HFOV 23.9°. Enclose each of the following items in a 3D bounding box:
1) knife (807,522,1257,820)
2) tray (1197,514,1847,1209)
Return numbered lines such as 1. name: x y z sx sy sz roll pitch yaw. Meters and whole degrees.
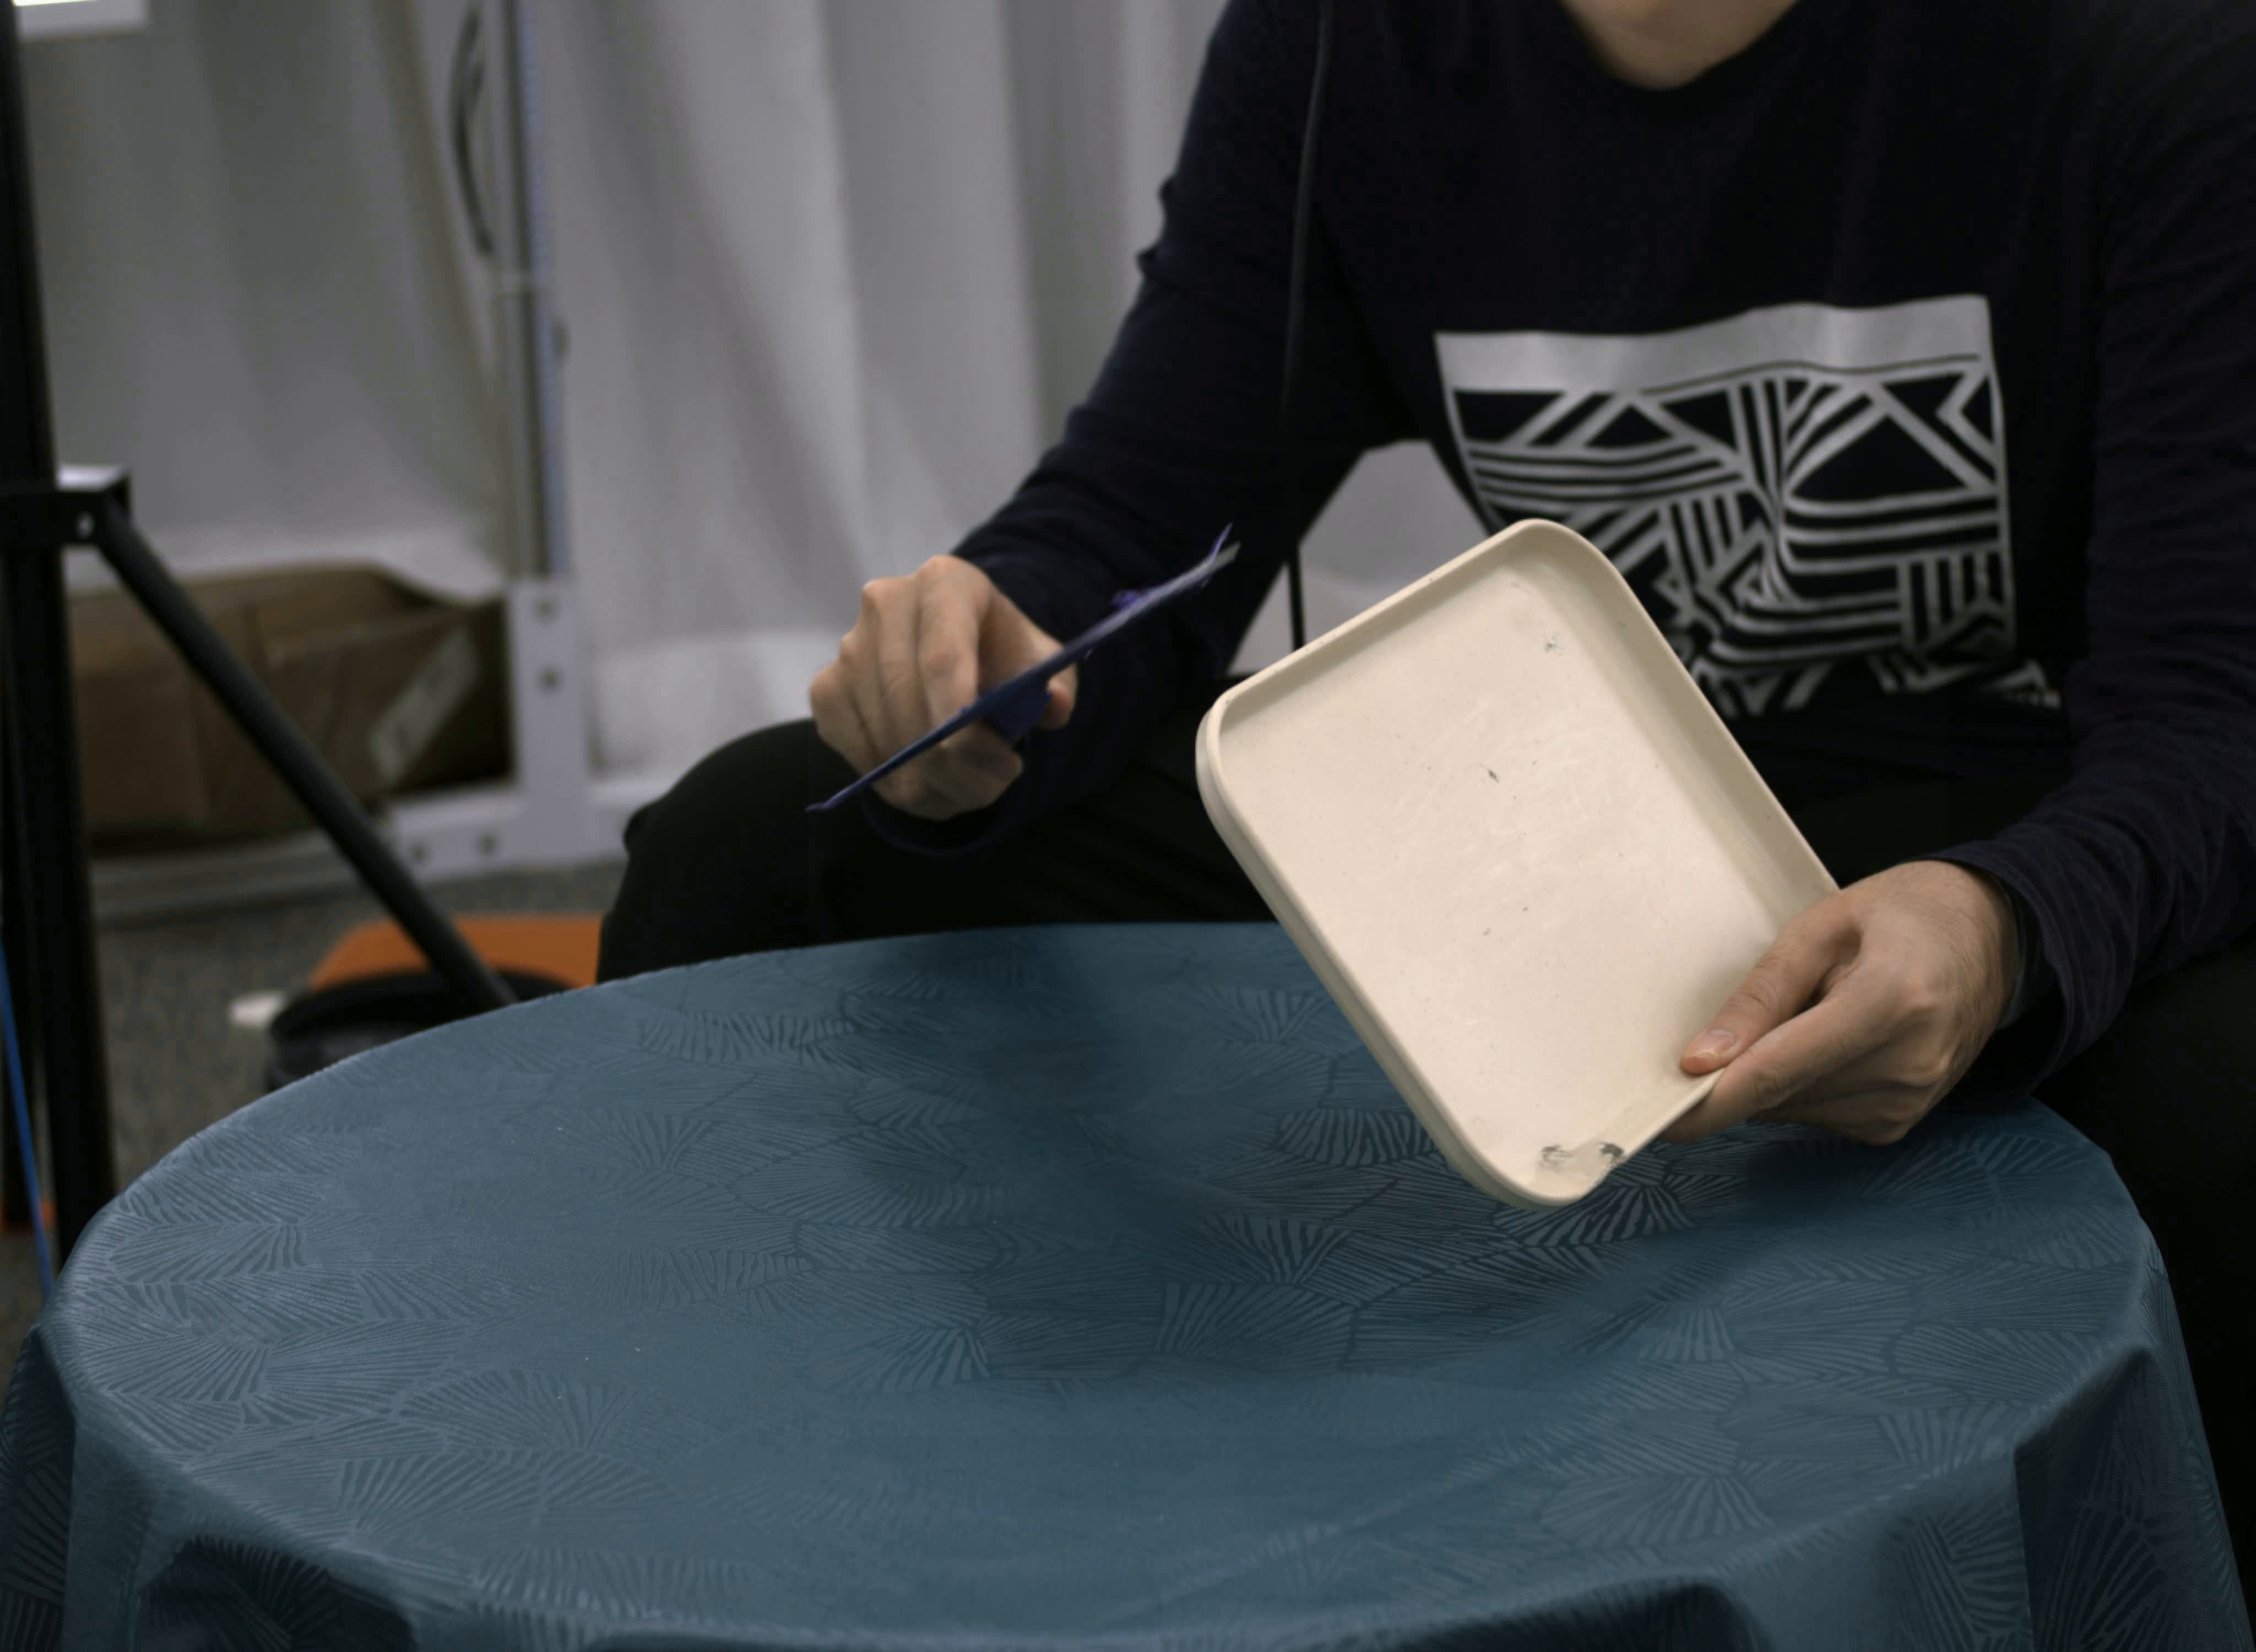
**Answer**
1. knife: -0.051 -0.036 1.633 0.102 0.032 0.318 -29 -2 -19
2. tray: 0.115 0.008 1.519 0.018 0.172 0.235 -38 -5 36
